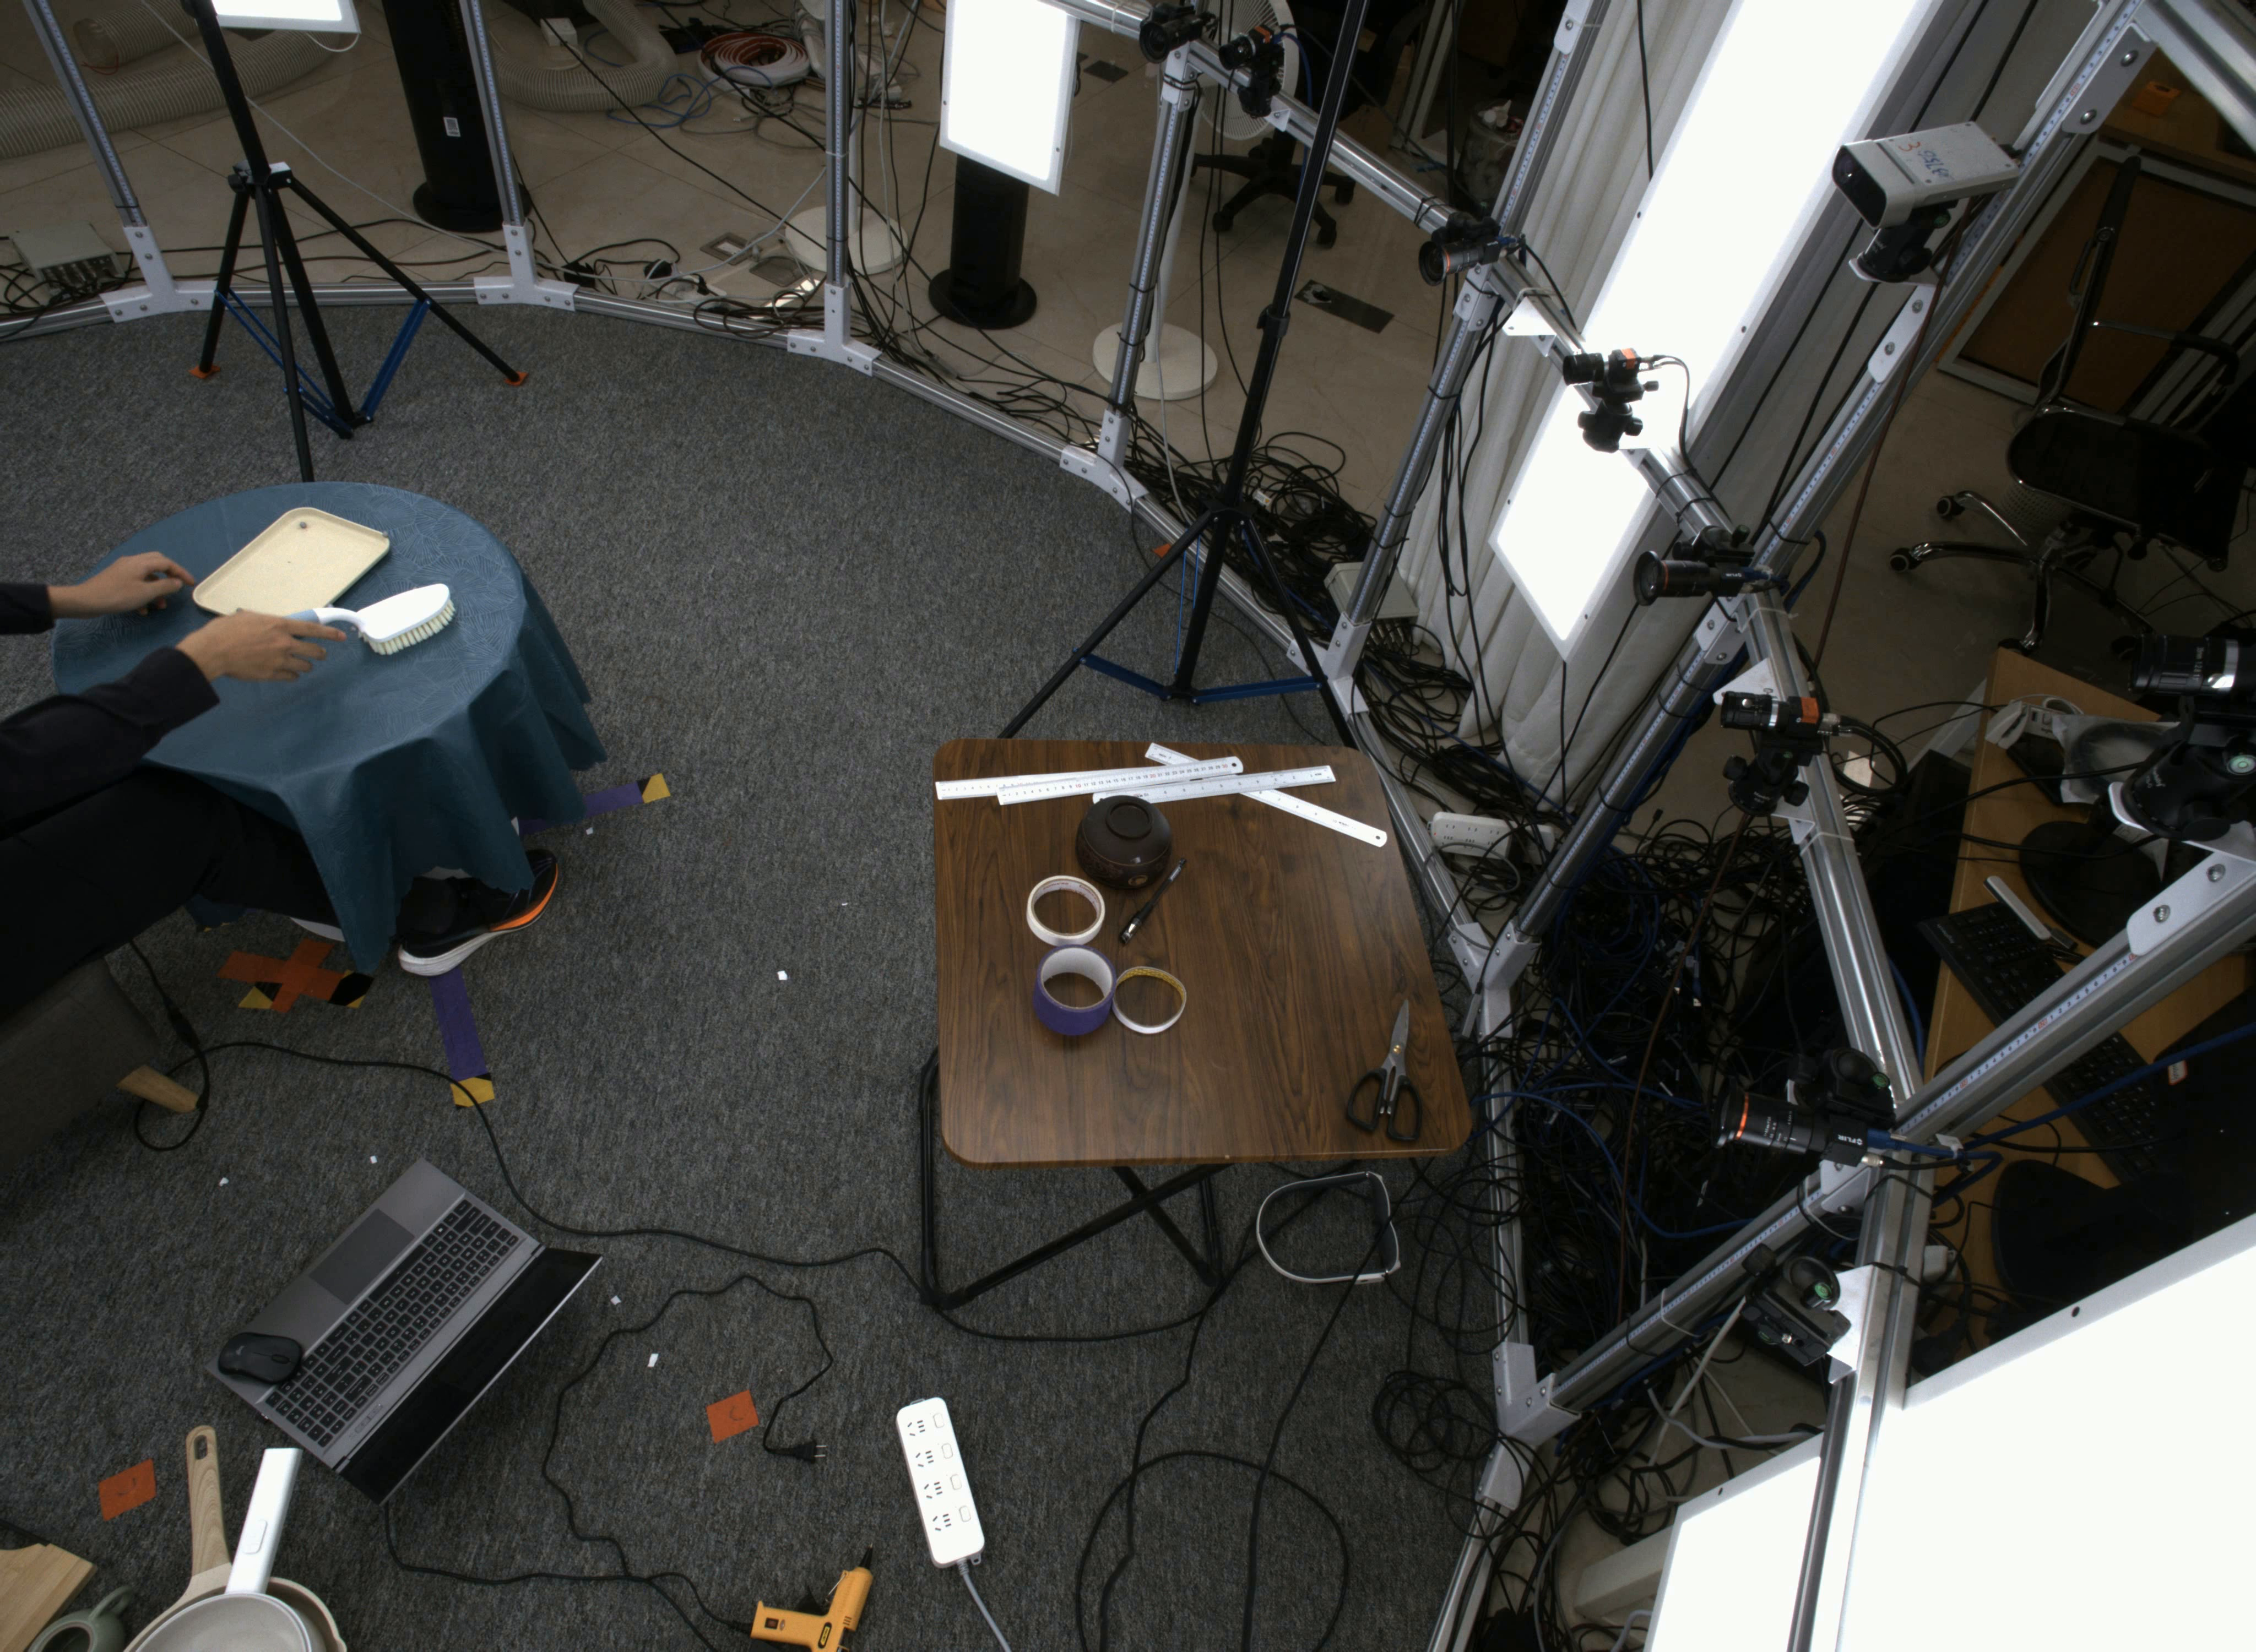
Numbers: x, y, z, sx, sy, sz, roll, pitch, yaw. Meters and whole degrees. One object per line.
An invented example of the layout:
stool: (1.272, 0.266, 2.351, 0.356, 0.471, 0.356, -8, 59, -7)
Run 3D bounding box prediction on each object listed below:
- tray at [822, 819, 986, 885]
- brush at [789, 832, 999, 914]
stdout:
tray: (-0.367, 0.040, 2.137, 0.243, 0.018, 0.164, -13, 30, -40)
brush: (-0.352, 0.082, 1.957, 0.329, 0.084, 0.082, 12, -16, -22)
